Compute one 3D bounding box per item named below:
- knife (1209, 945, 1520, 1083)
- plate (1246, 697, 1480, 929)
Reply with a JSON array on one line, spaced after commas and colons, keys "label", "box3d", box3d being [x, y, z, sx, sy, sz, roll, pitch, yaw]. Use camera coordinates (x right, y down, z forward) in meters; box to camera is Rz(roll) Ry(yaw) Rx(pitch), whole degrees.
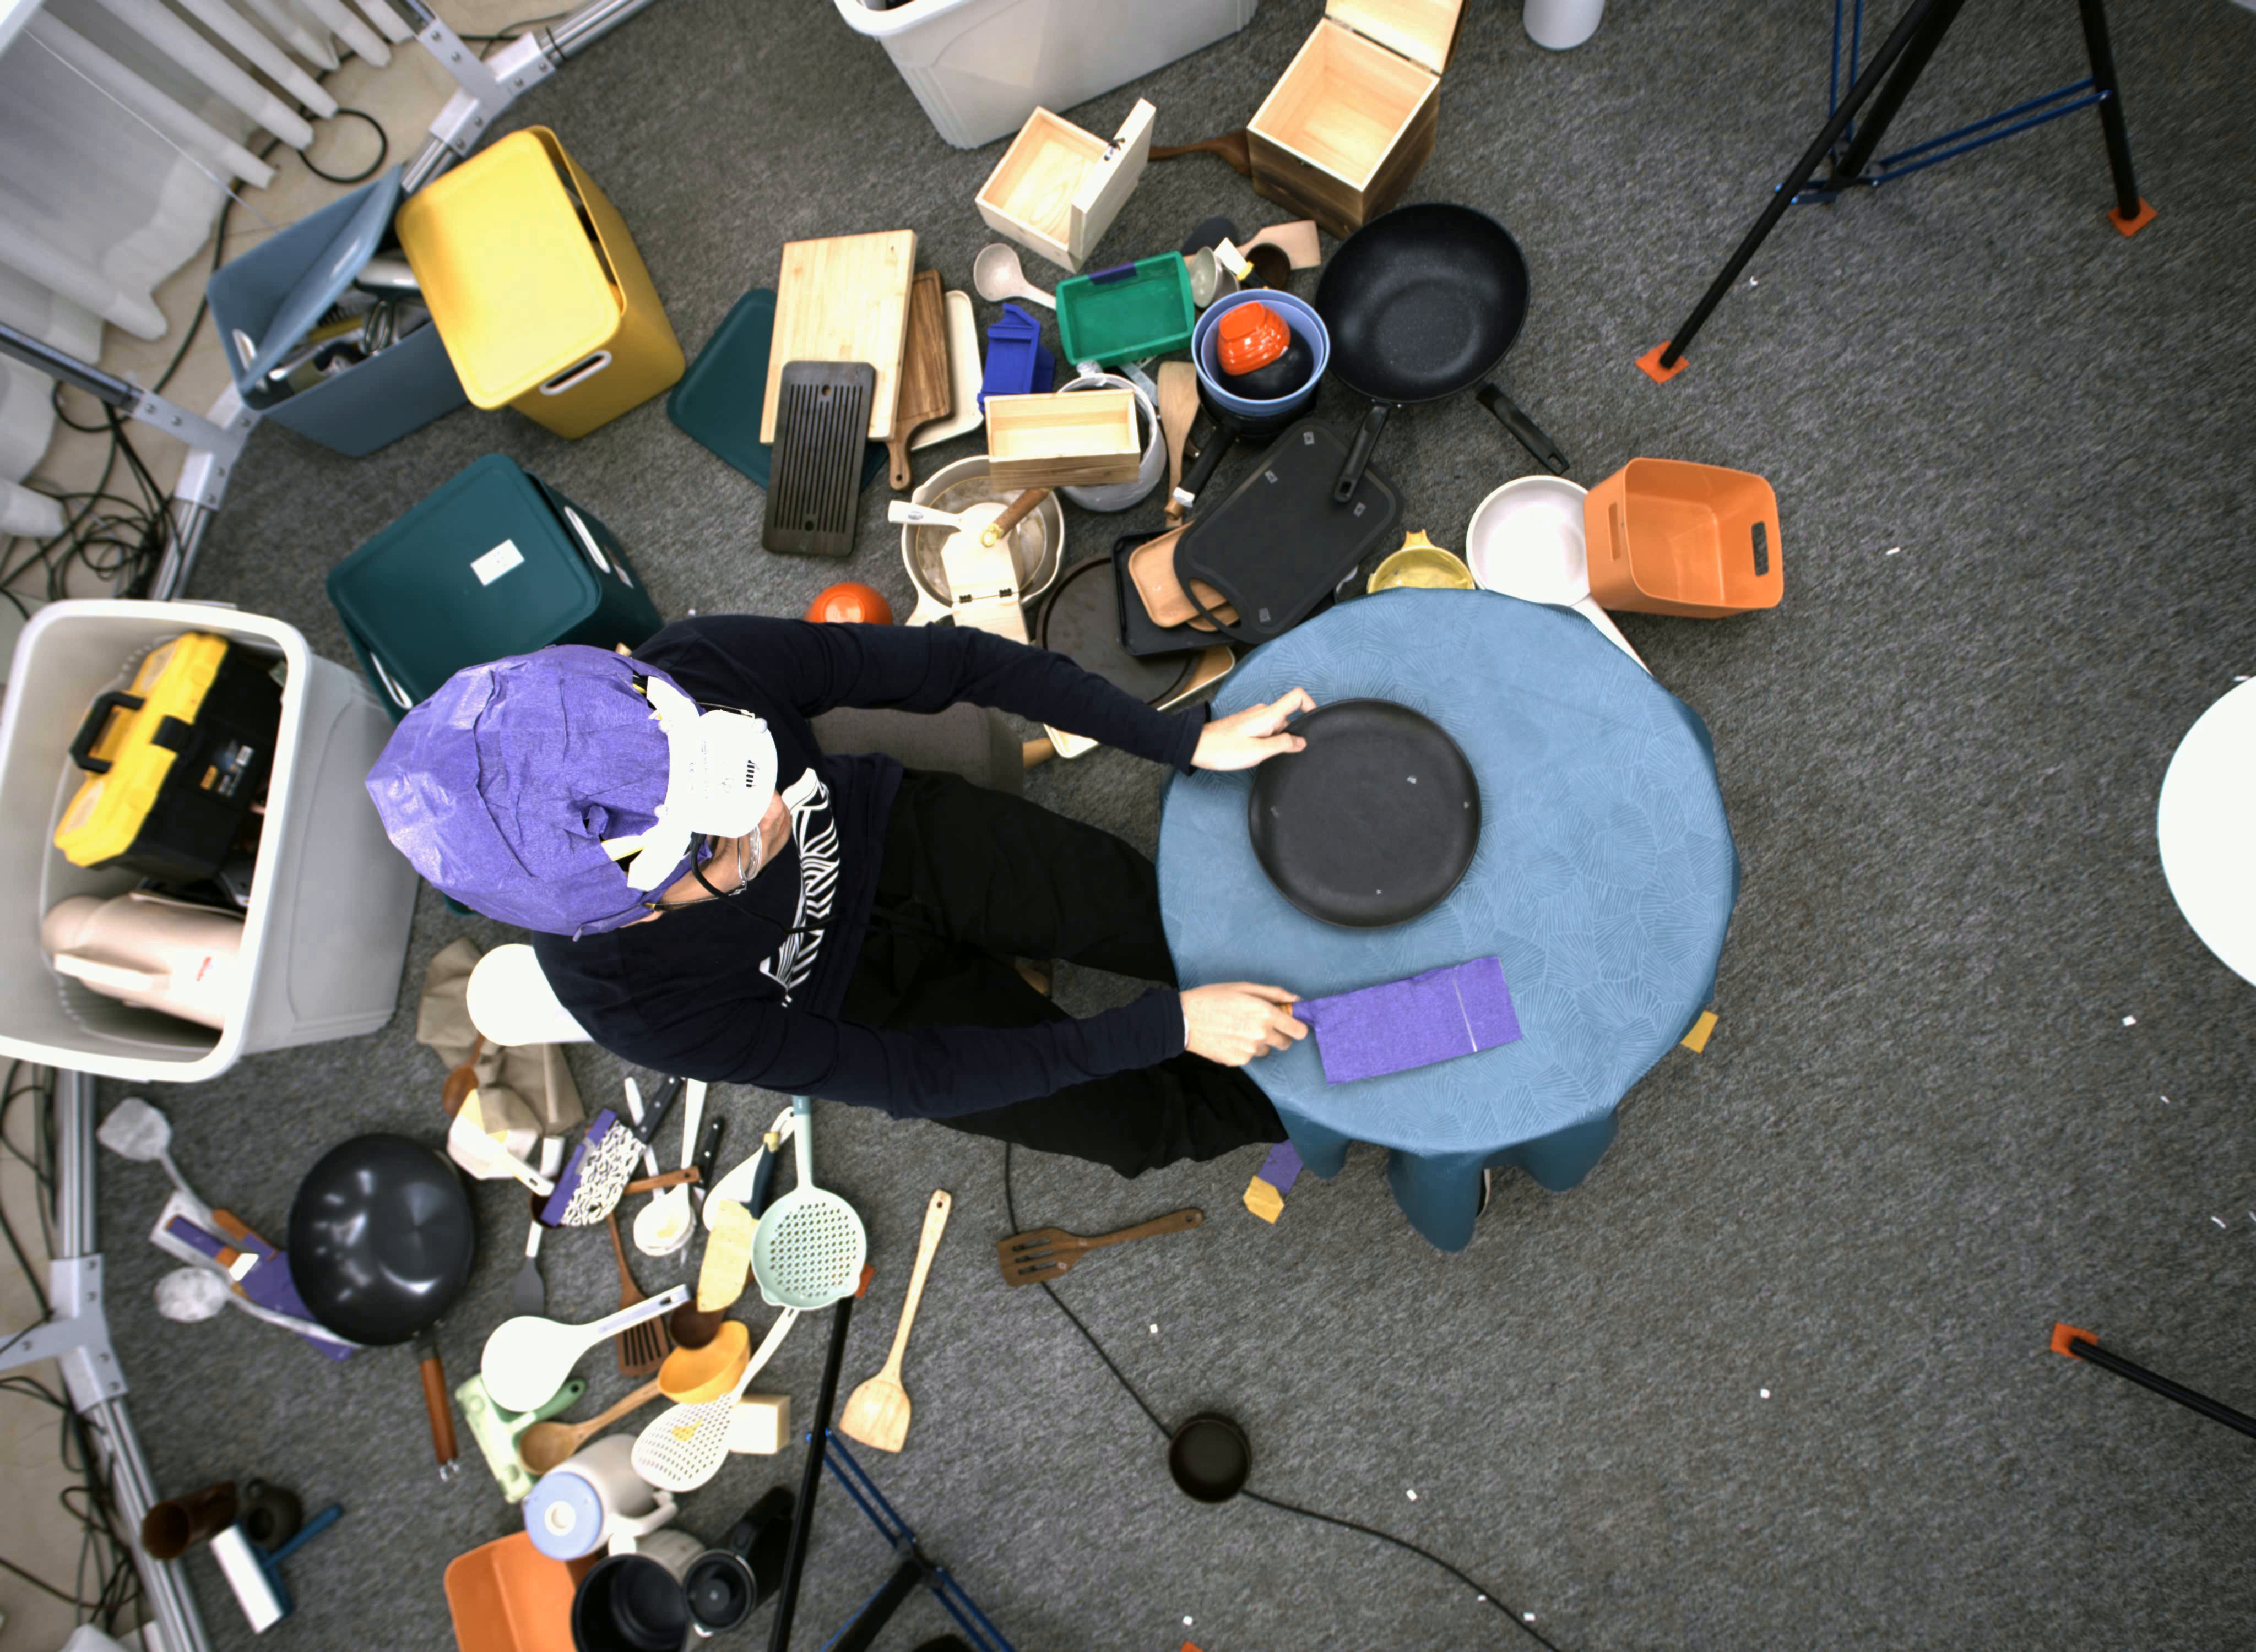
[{"label": "knife", "box3d": [0.246, 0.209, 1.428, 0.316, 0.032, 0.103, -15, 83, 3]}, {"label": "plate", "box3d": [0.246, -0.014, 1.450, 0.245, 0.023, 0.244, 0, 91, 8]}]
